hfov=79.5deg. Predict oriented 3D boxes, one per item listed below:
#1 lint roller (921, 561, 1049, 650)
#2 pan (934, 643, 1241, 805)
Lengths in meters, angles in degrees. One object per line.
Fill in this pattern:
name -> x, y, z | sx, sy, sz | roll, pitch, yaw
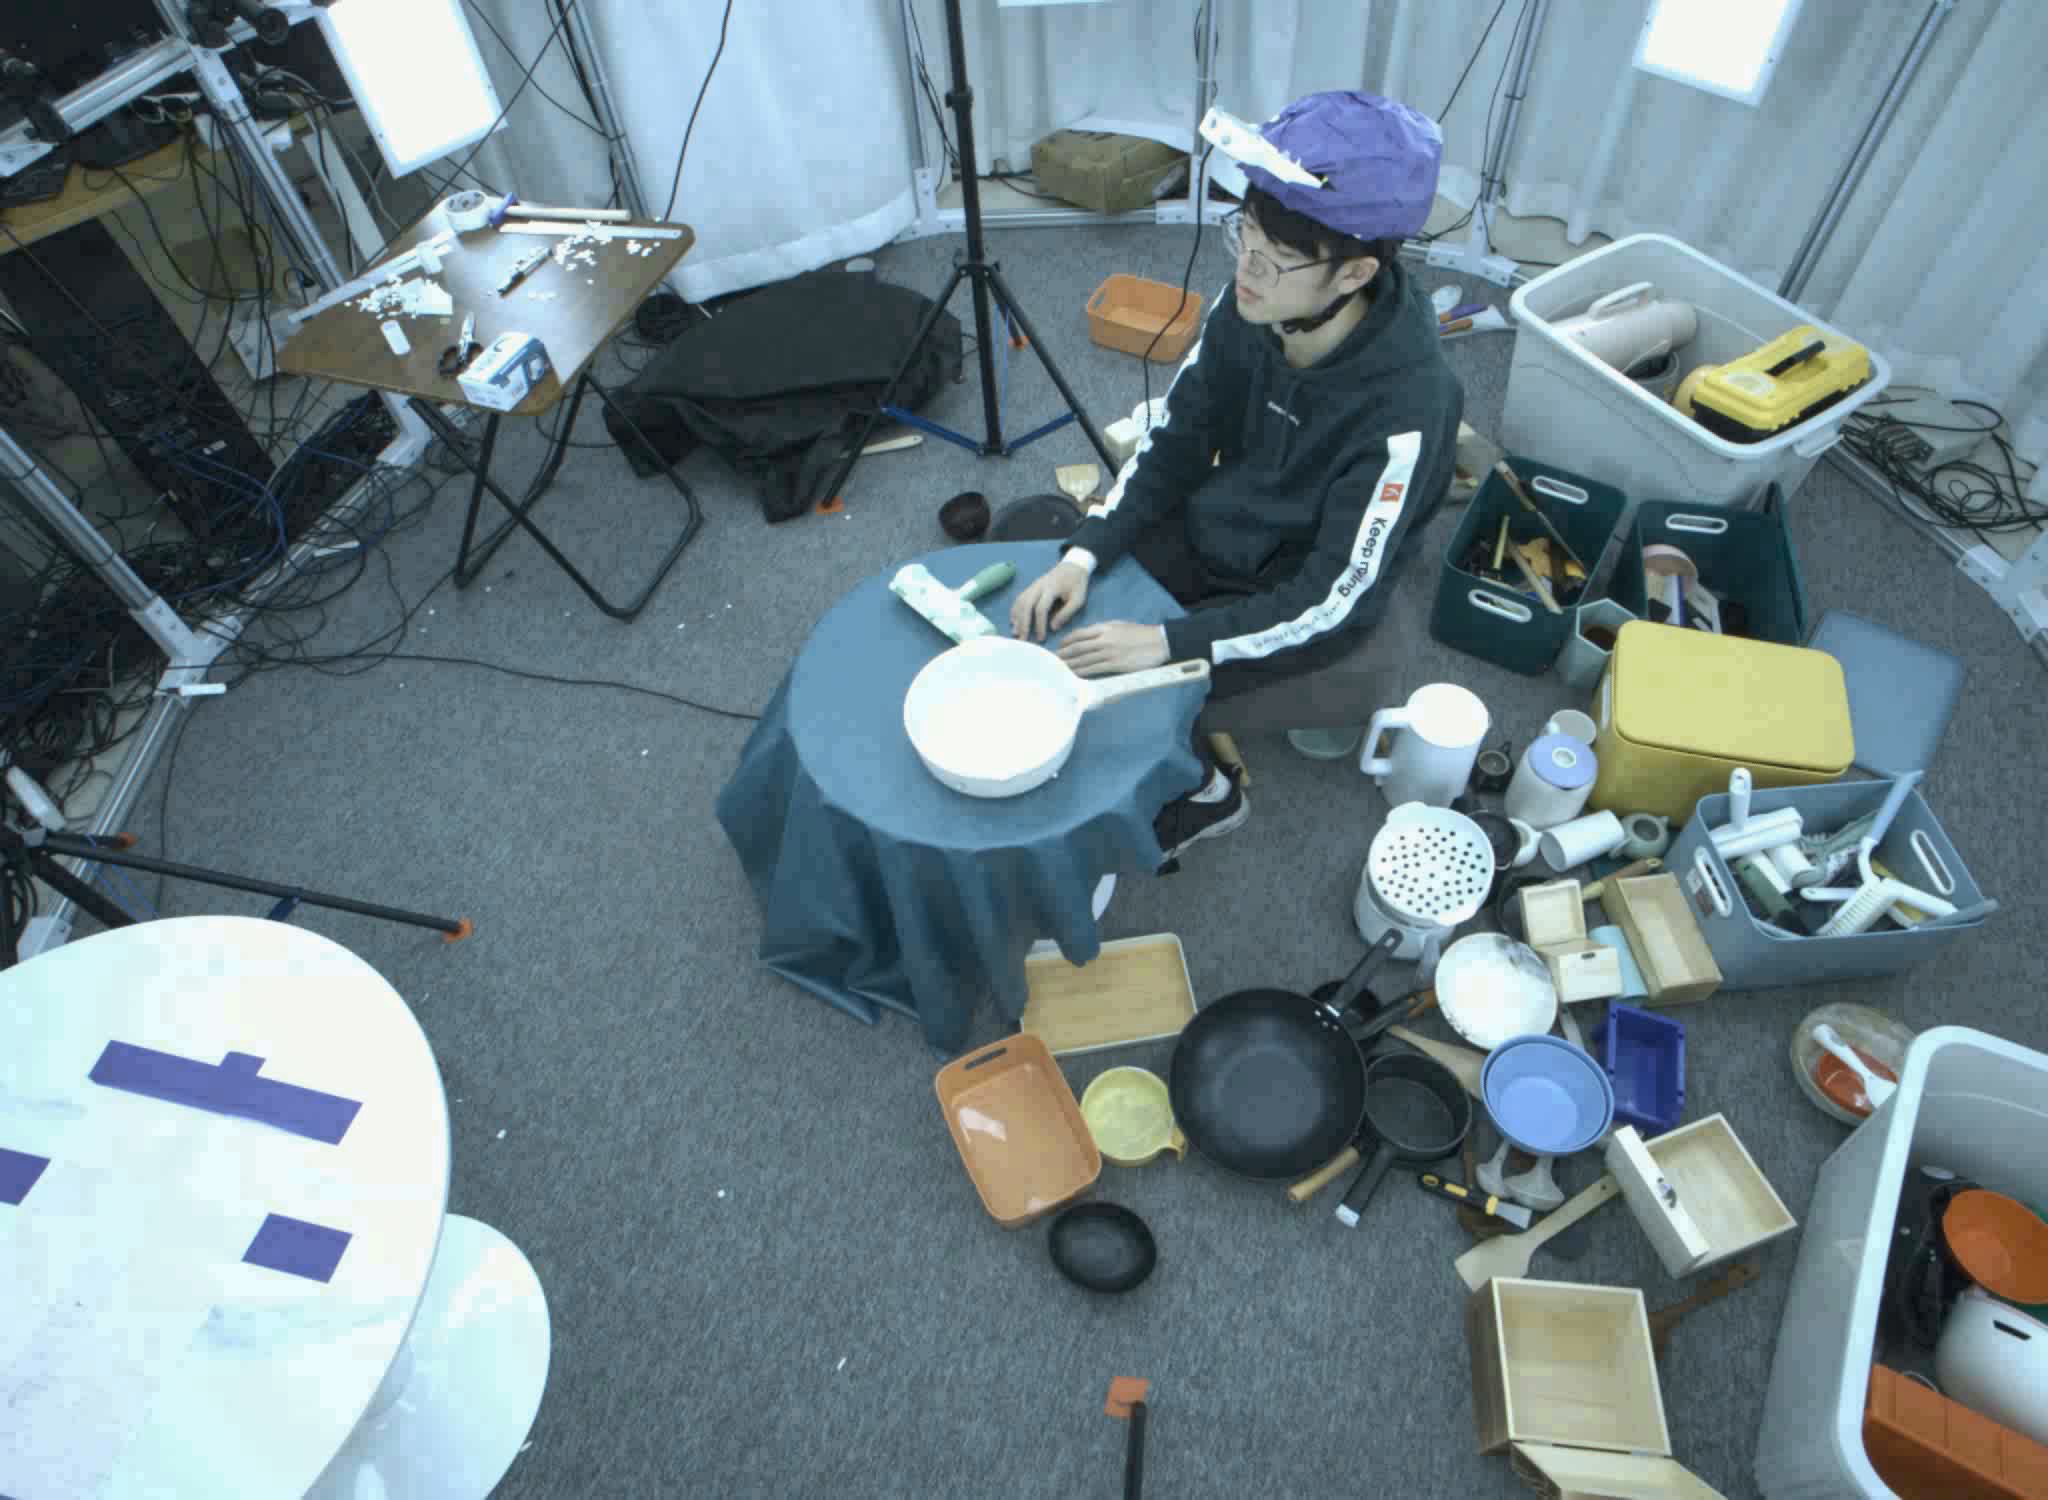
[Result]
lint roller -> -0.036, -0.259, 1.921 | 0.184, 0.083, 0.195 | -39, 62, -16
pan -> 0.092, -0.046, 1.752 | 0.436, 0.103, 0.260 | -7, 53, -3
